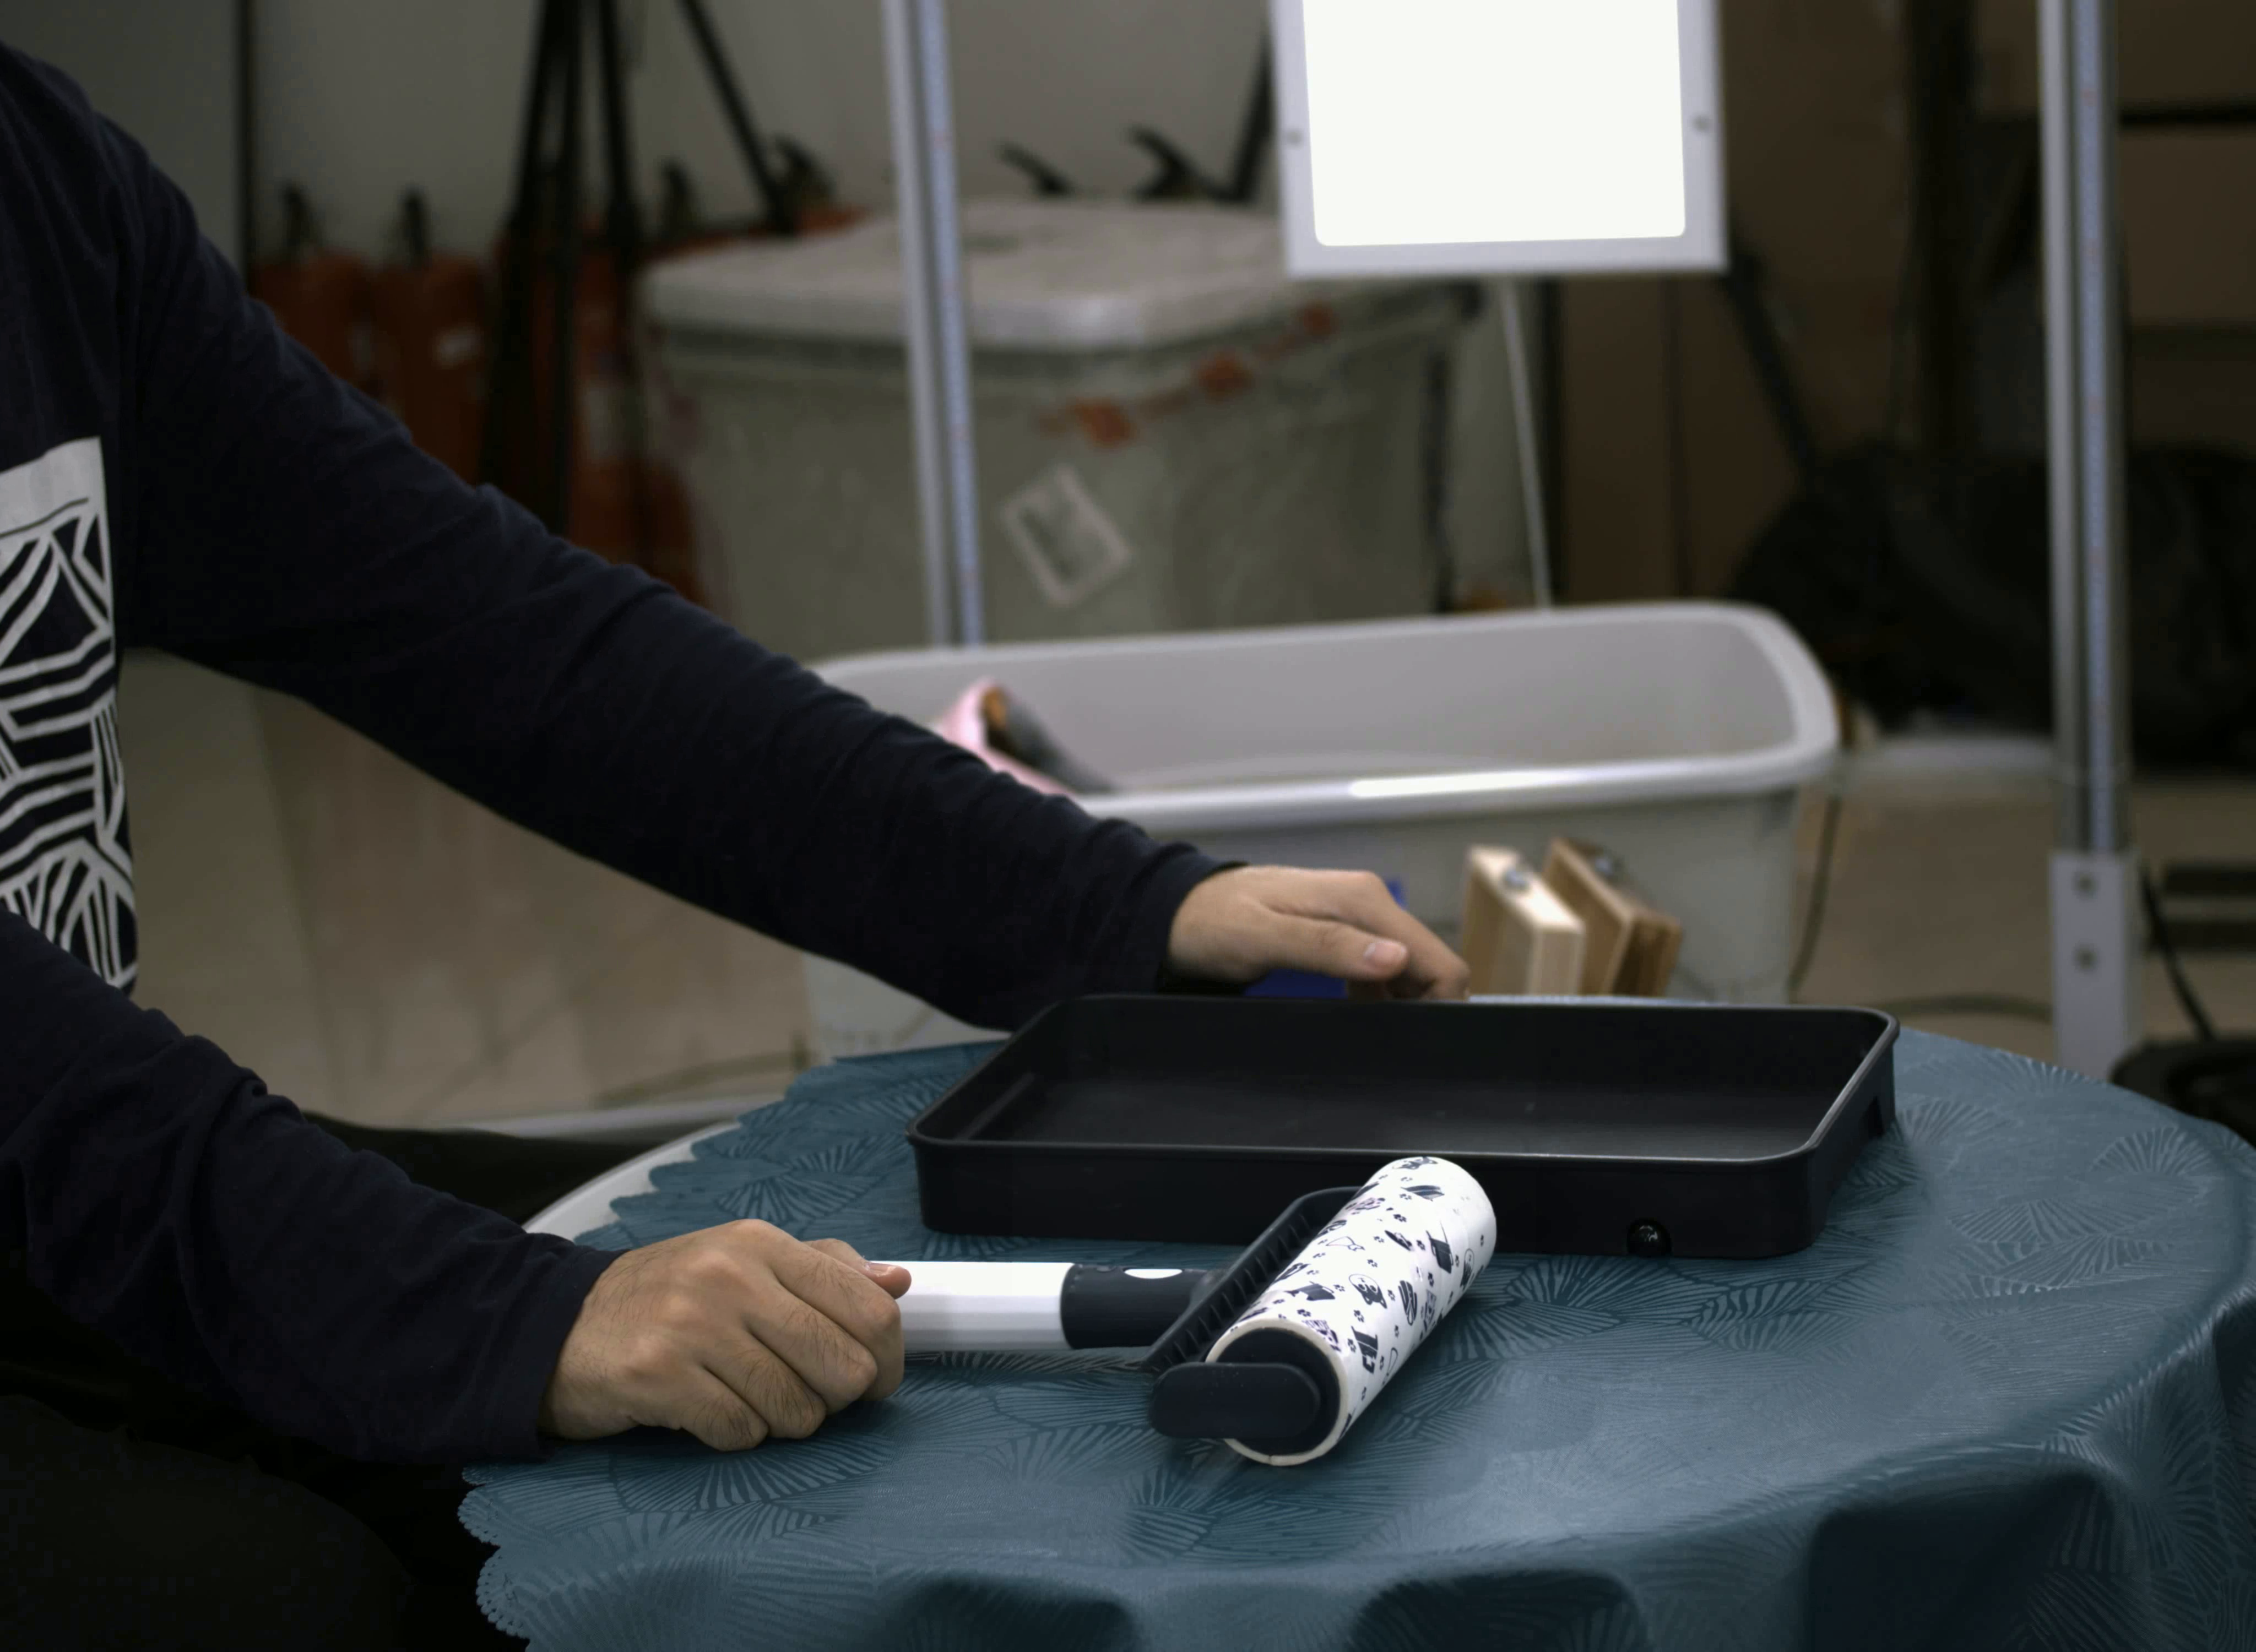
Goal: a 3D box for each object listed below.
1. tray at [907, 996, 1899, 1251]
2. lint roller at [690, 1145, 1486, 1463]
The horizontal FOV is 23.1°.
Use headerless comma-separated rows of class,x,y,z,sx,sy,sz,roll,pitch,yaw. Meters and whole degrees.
tray,0.098,0.100,1.898,0.322,0.037,0.181,0,14,21
lint roller,-0.026,0.151,1.730,0.250,0.050,0.173,-3,14,22
